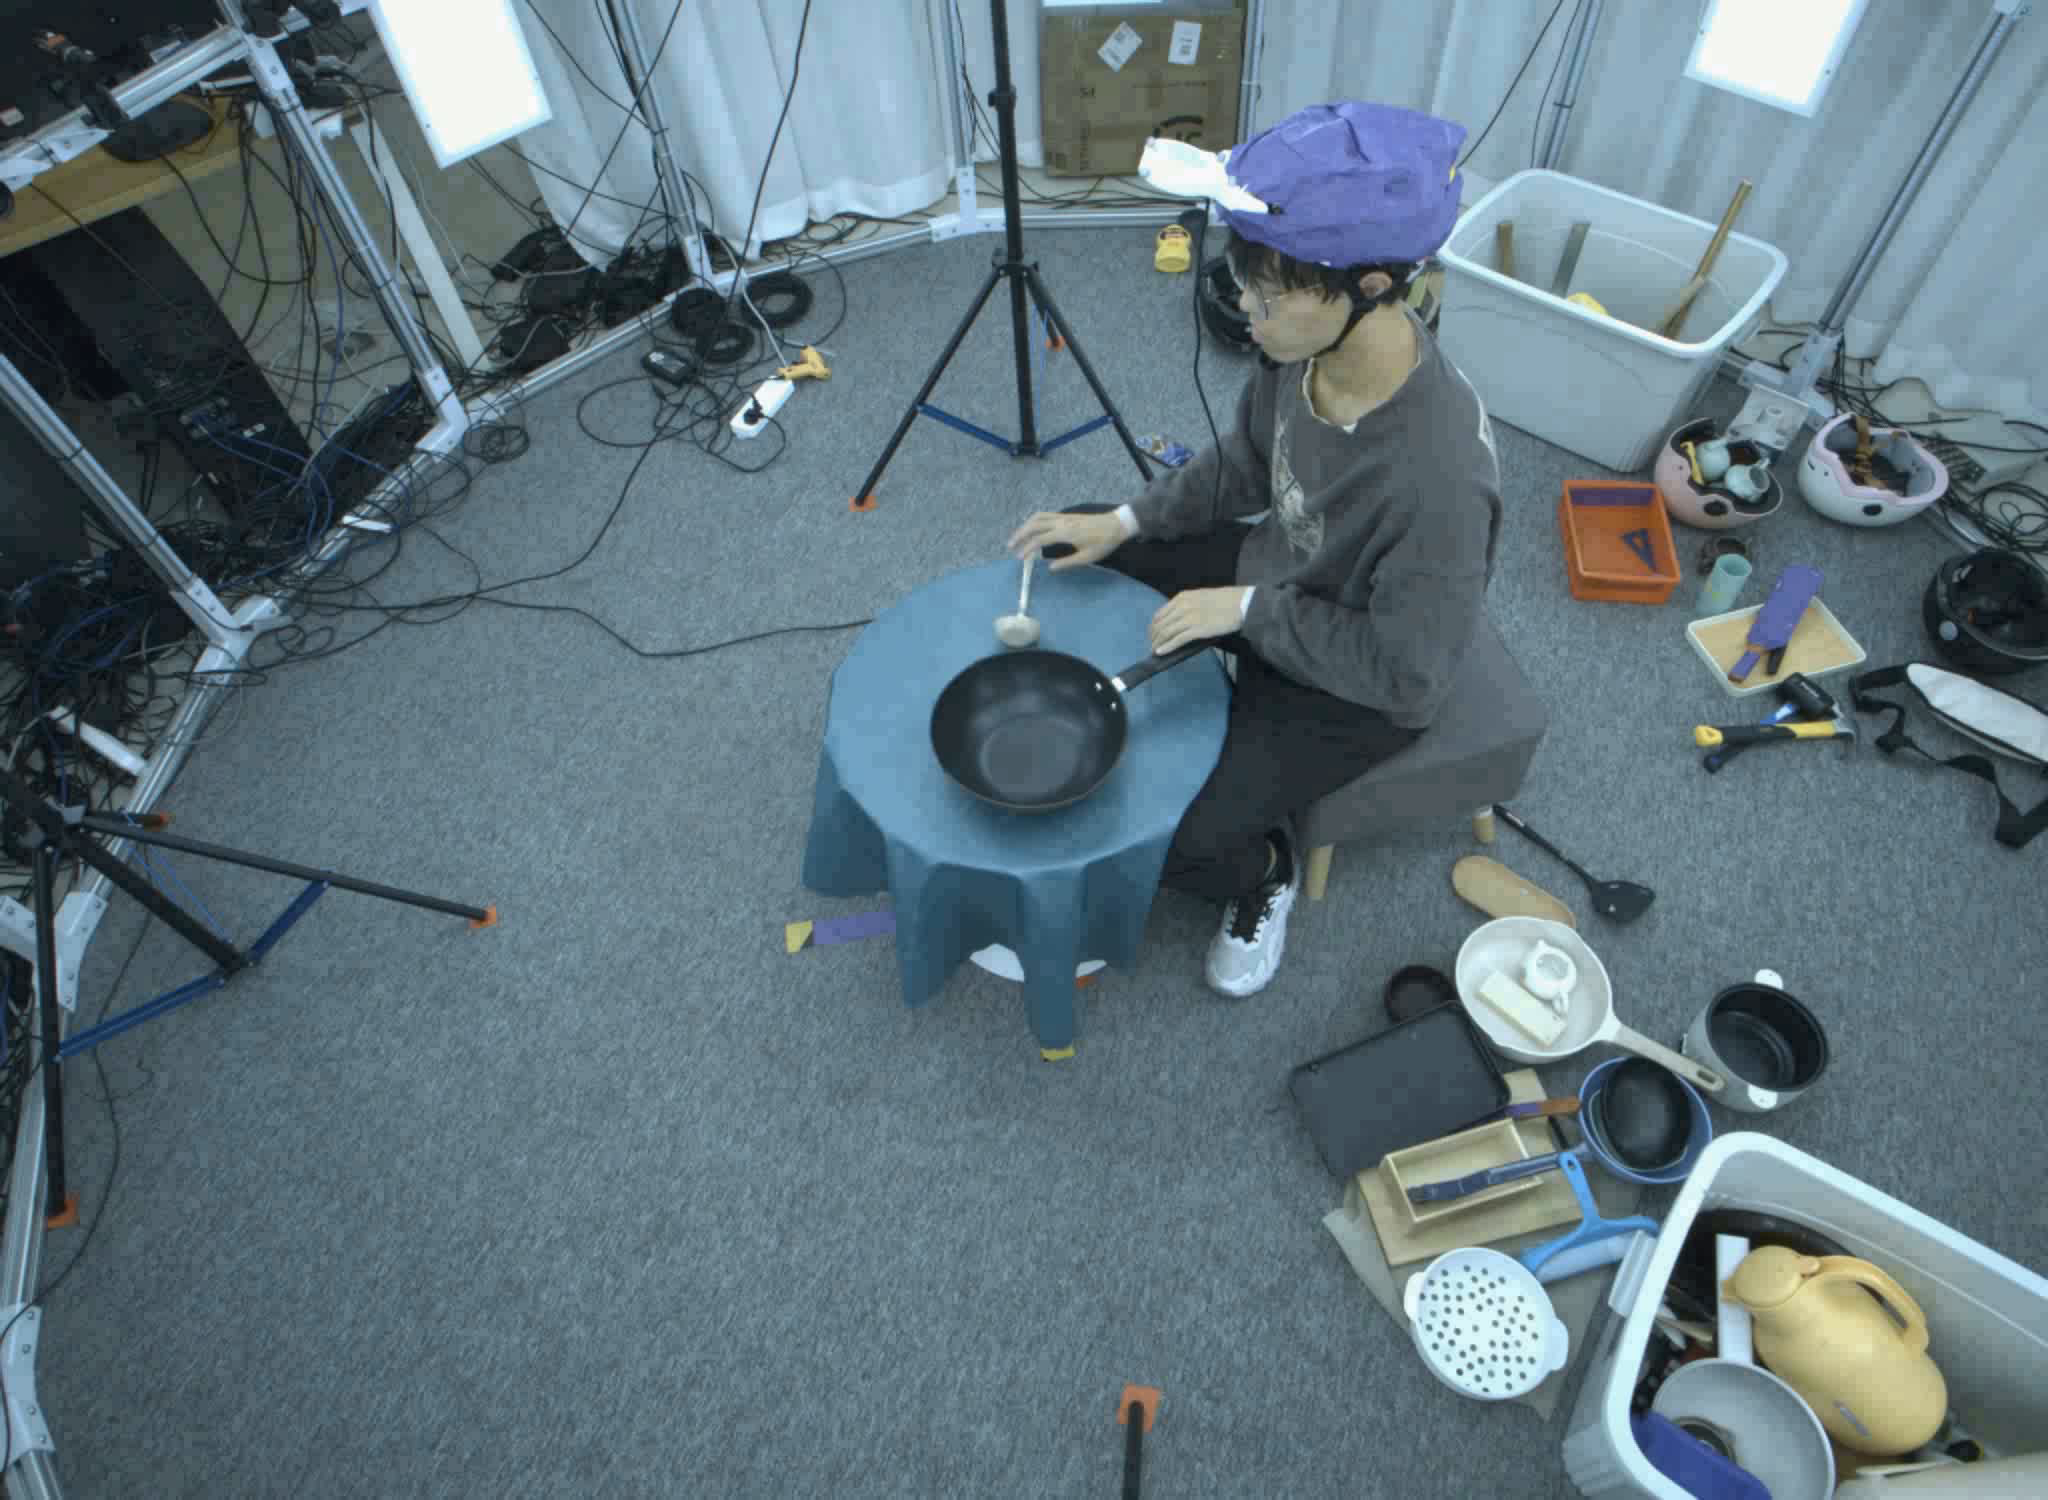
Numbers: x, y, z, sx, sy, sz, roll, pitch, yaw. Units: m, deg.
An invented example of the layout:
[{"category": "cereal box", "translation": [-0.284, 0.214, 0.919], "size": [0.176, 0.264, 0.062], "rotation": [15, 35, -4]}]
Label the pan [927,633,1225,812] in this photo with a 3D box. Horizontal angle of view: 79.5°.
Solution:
[{"category": "pan", "translation": [0.086, -0.054, 1.770], "size": [0.467, 0.088, 0.282], "rotation": [-26, 57, -17]}]

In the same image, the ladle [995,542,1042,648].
[{"category": "ladle", "translation": [-0.005, -0.267, 1.936], "size": [0.072, 0.074, 0.252], "rotation": [-2, 53, 6]}]
